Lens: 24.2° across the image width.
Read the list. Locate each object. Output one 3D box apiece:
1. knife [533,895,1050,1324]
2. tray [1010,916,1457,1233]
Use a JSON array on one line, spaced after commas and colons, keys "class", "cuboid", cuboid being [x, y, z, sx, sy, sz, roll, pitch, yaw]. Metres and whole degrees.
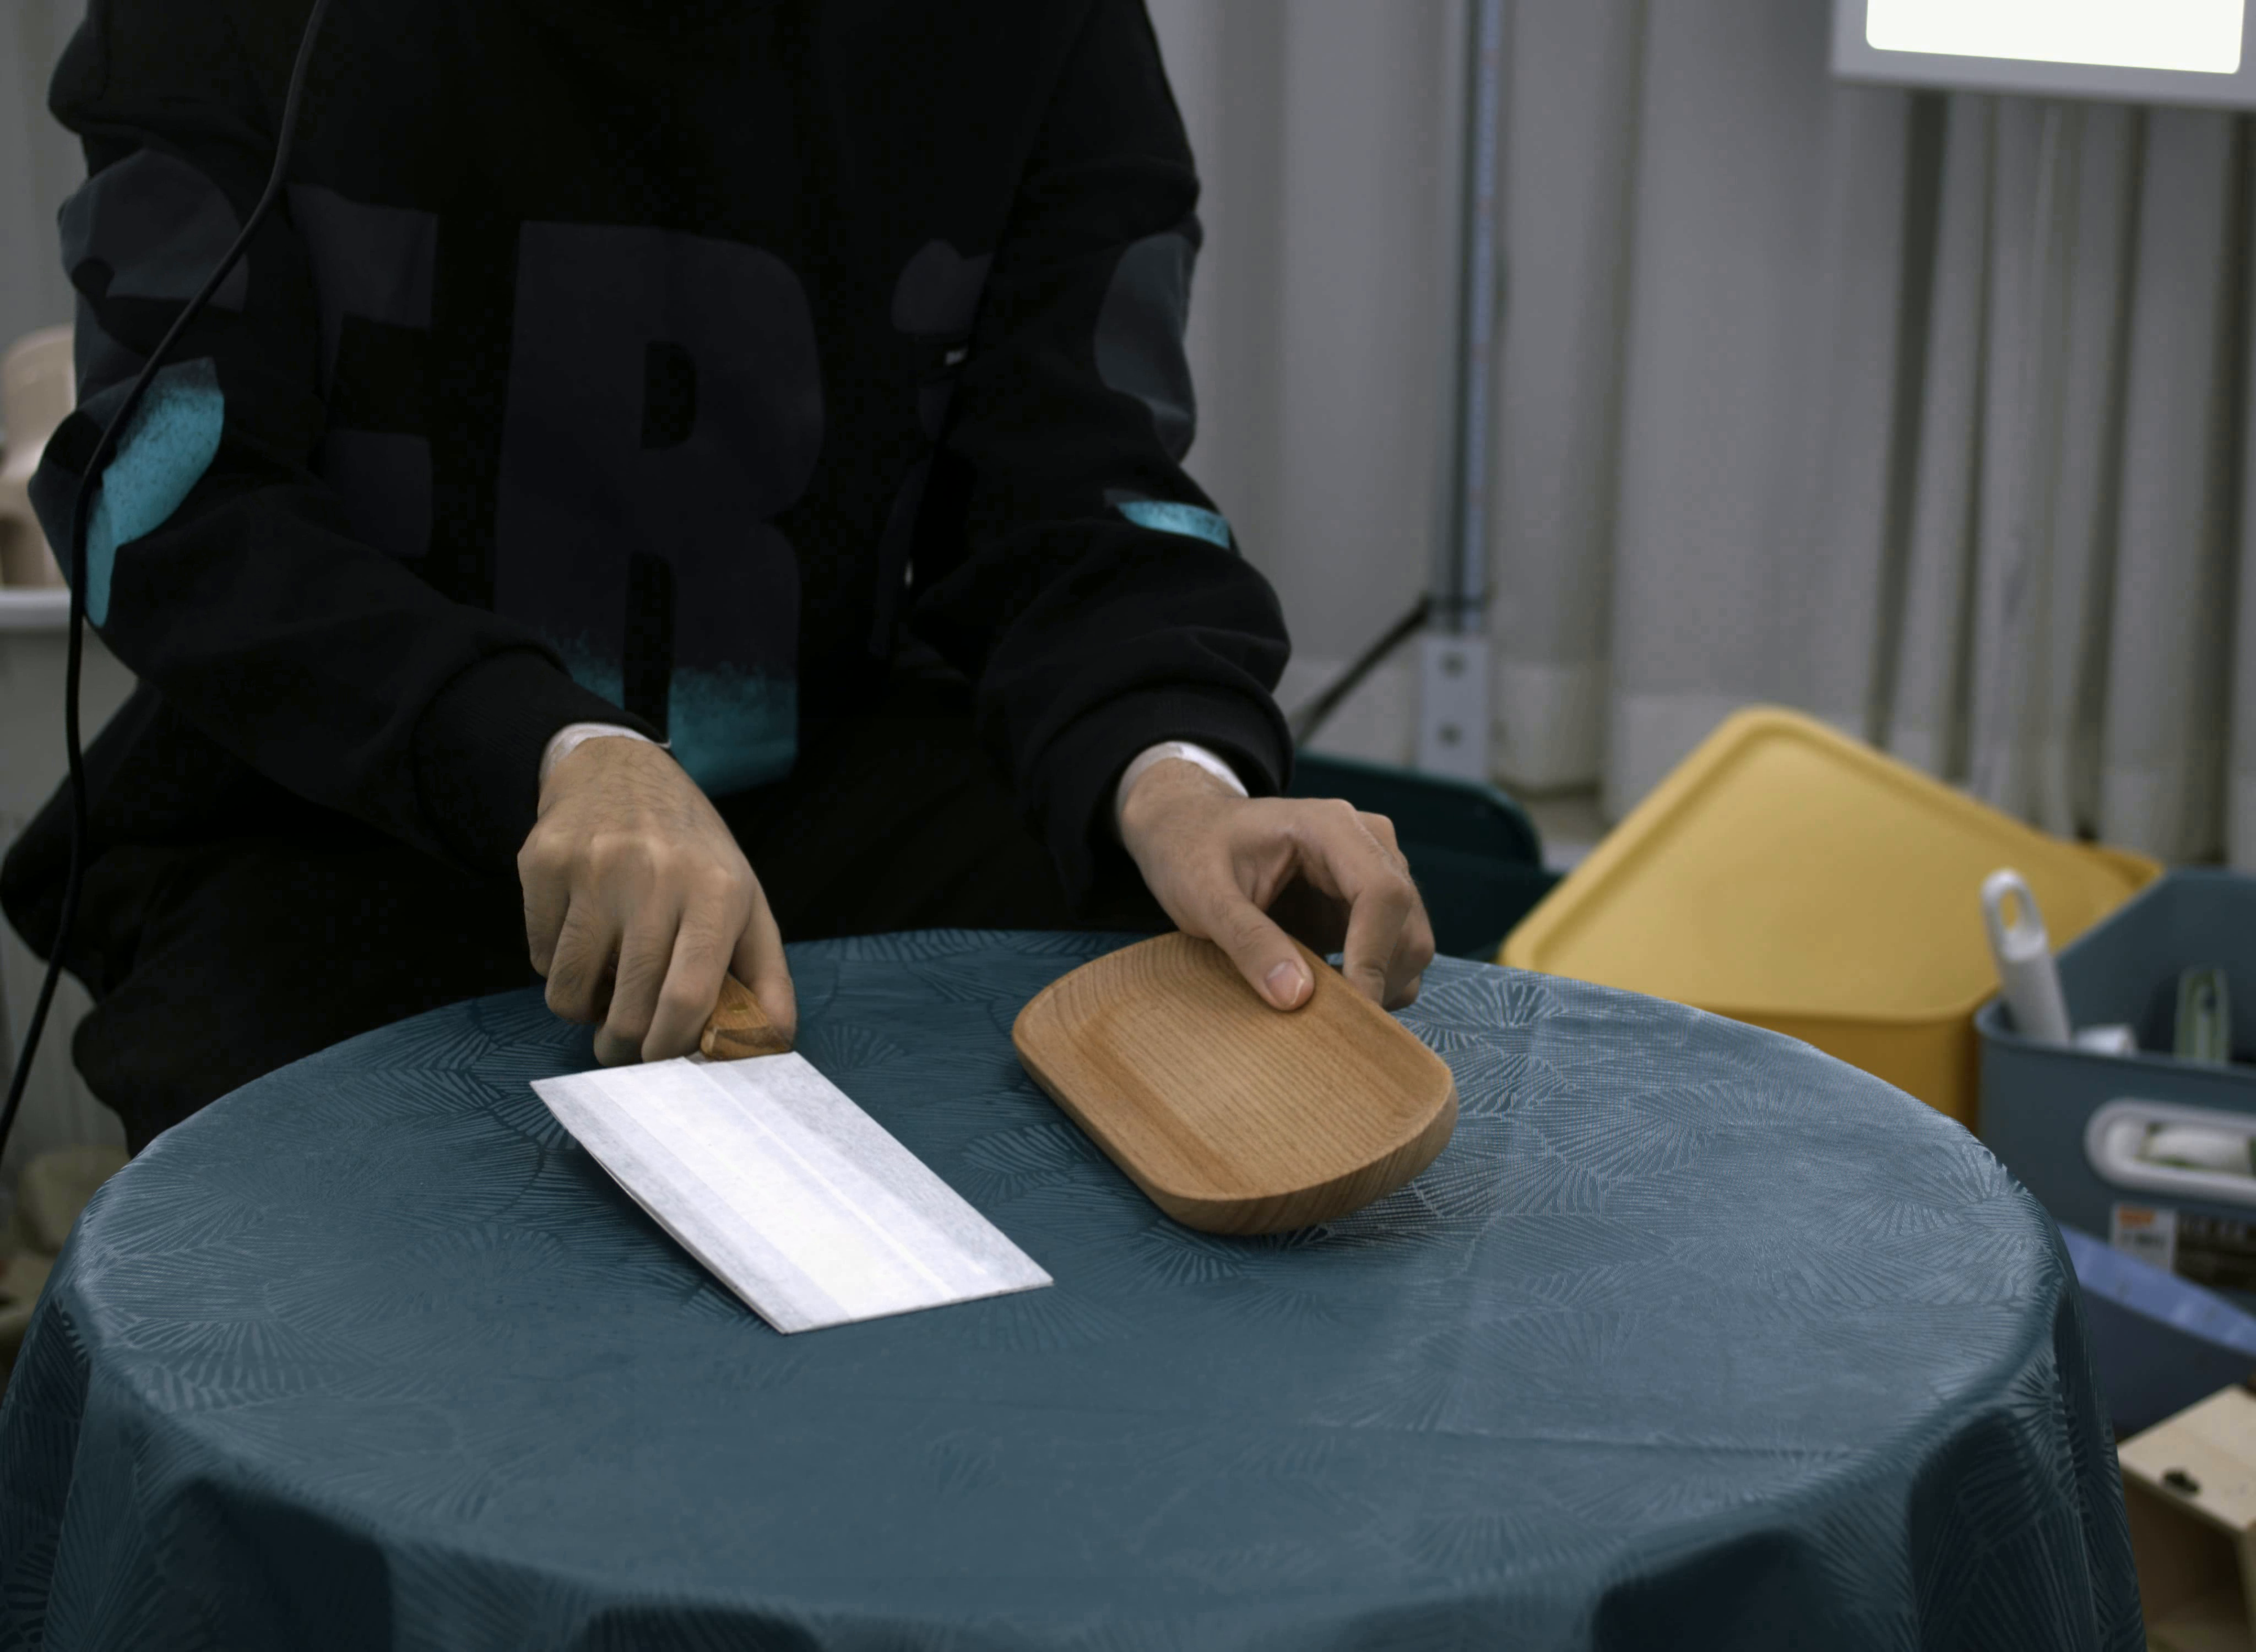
[{"class": "knife", "cuboid": [-0.130, 0.087, 1.642, 0.093, 0.021, 0.301, -8, 24, -28]}, {"class": "tray", "cuboid": [0.032, 0.077, 1.672, 0.101, 0.020, 0.229, -22, 20, -12]}]
